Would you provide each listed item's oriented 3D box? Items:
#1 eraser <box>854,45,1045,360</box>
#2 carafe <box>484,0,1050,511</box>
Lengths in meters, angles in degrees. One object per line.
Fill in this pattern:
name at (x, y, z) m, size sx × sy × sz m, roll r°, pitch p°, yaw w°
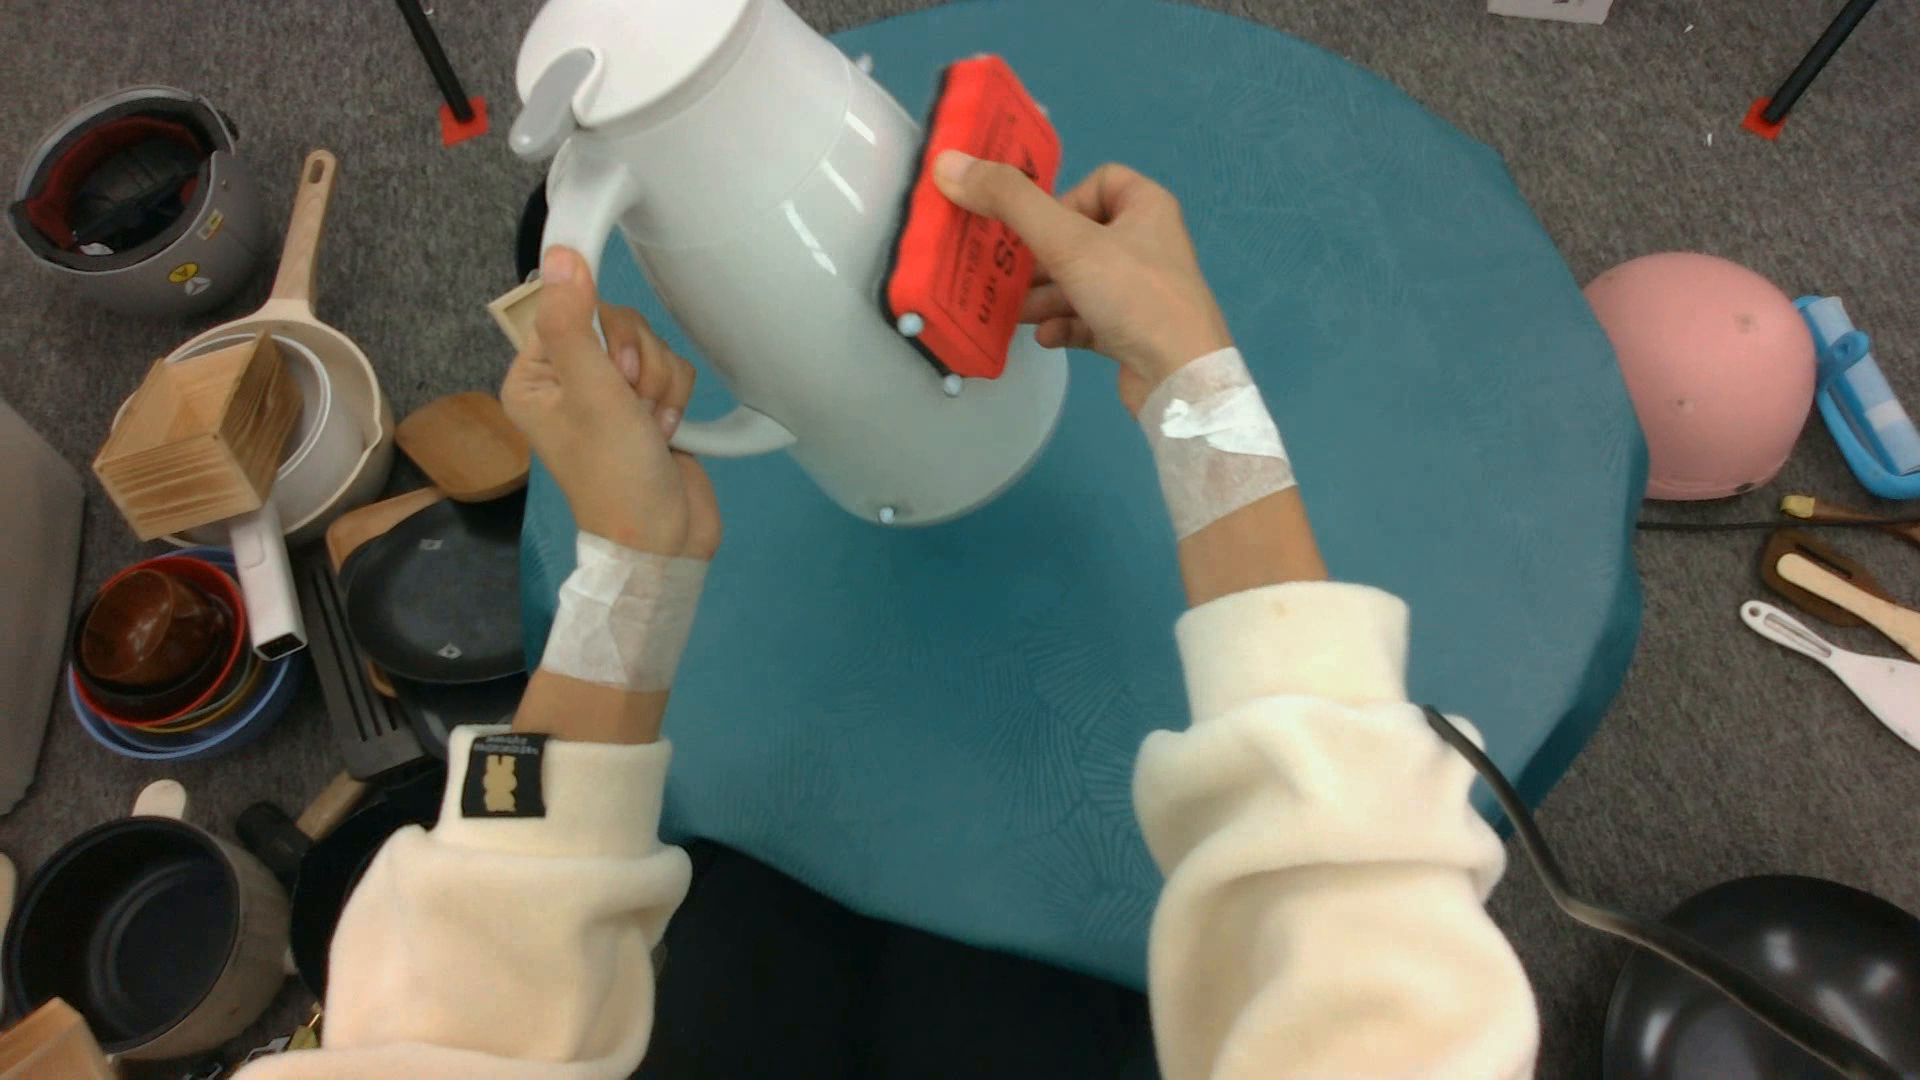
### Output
eraser at (-0.002, -0.124, 0.508) m, size 0.023 × 0.059 × 0.108 m, roll 3°, pitch 67°, yaw 35°
carafe at (-0.076, -0.109, 0.534) m, size 0.132 × 0.248 × 0.168 m, roll 22°, pitch 75°, yaw 33°
